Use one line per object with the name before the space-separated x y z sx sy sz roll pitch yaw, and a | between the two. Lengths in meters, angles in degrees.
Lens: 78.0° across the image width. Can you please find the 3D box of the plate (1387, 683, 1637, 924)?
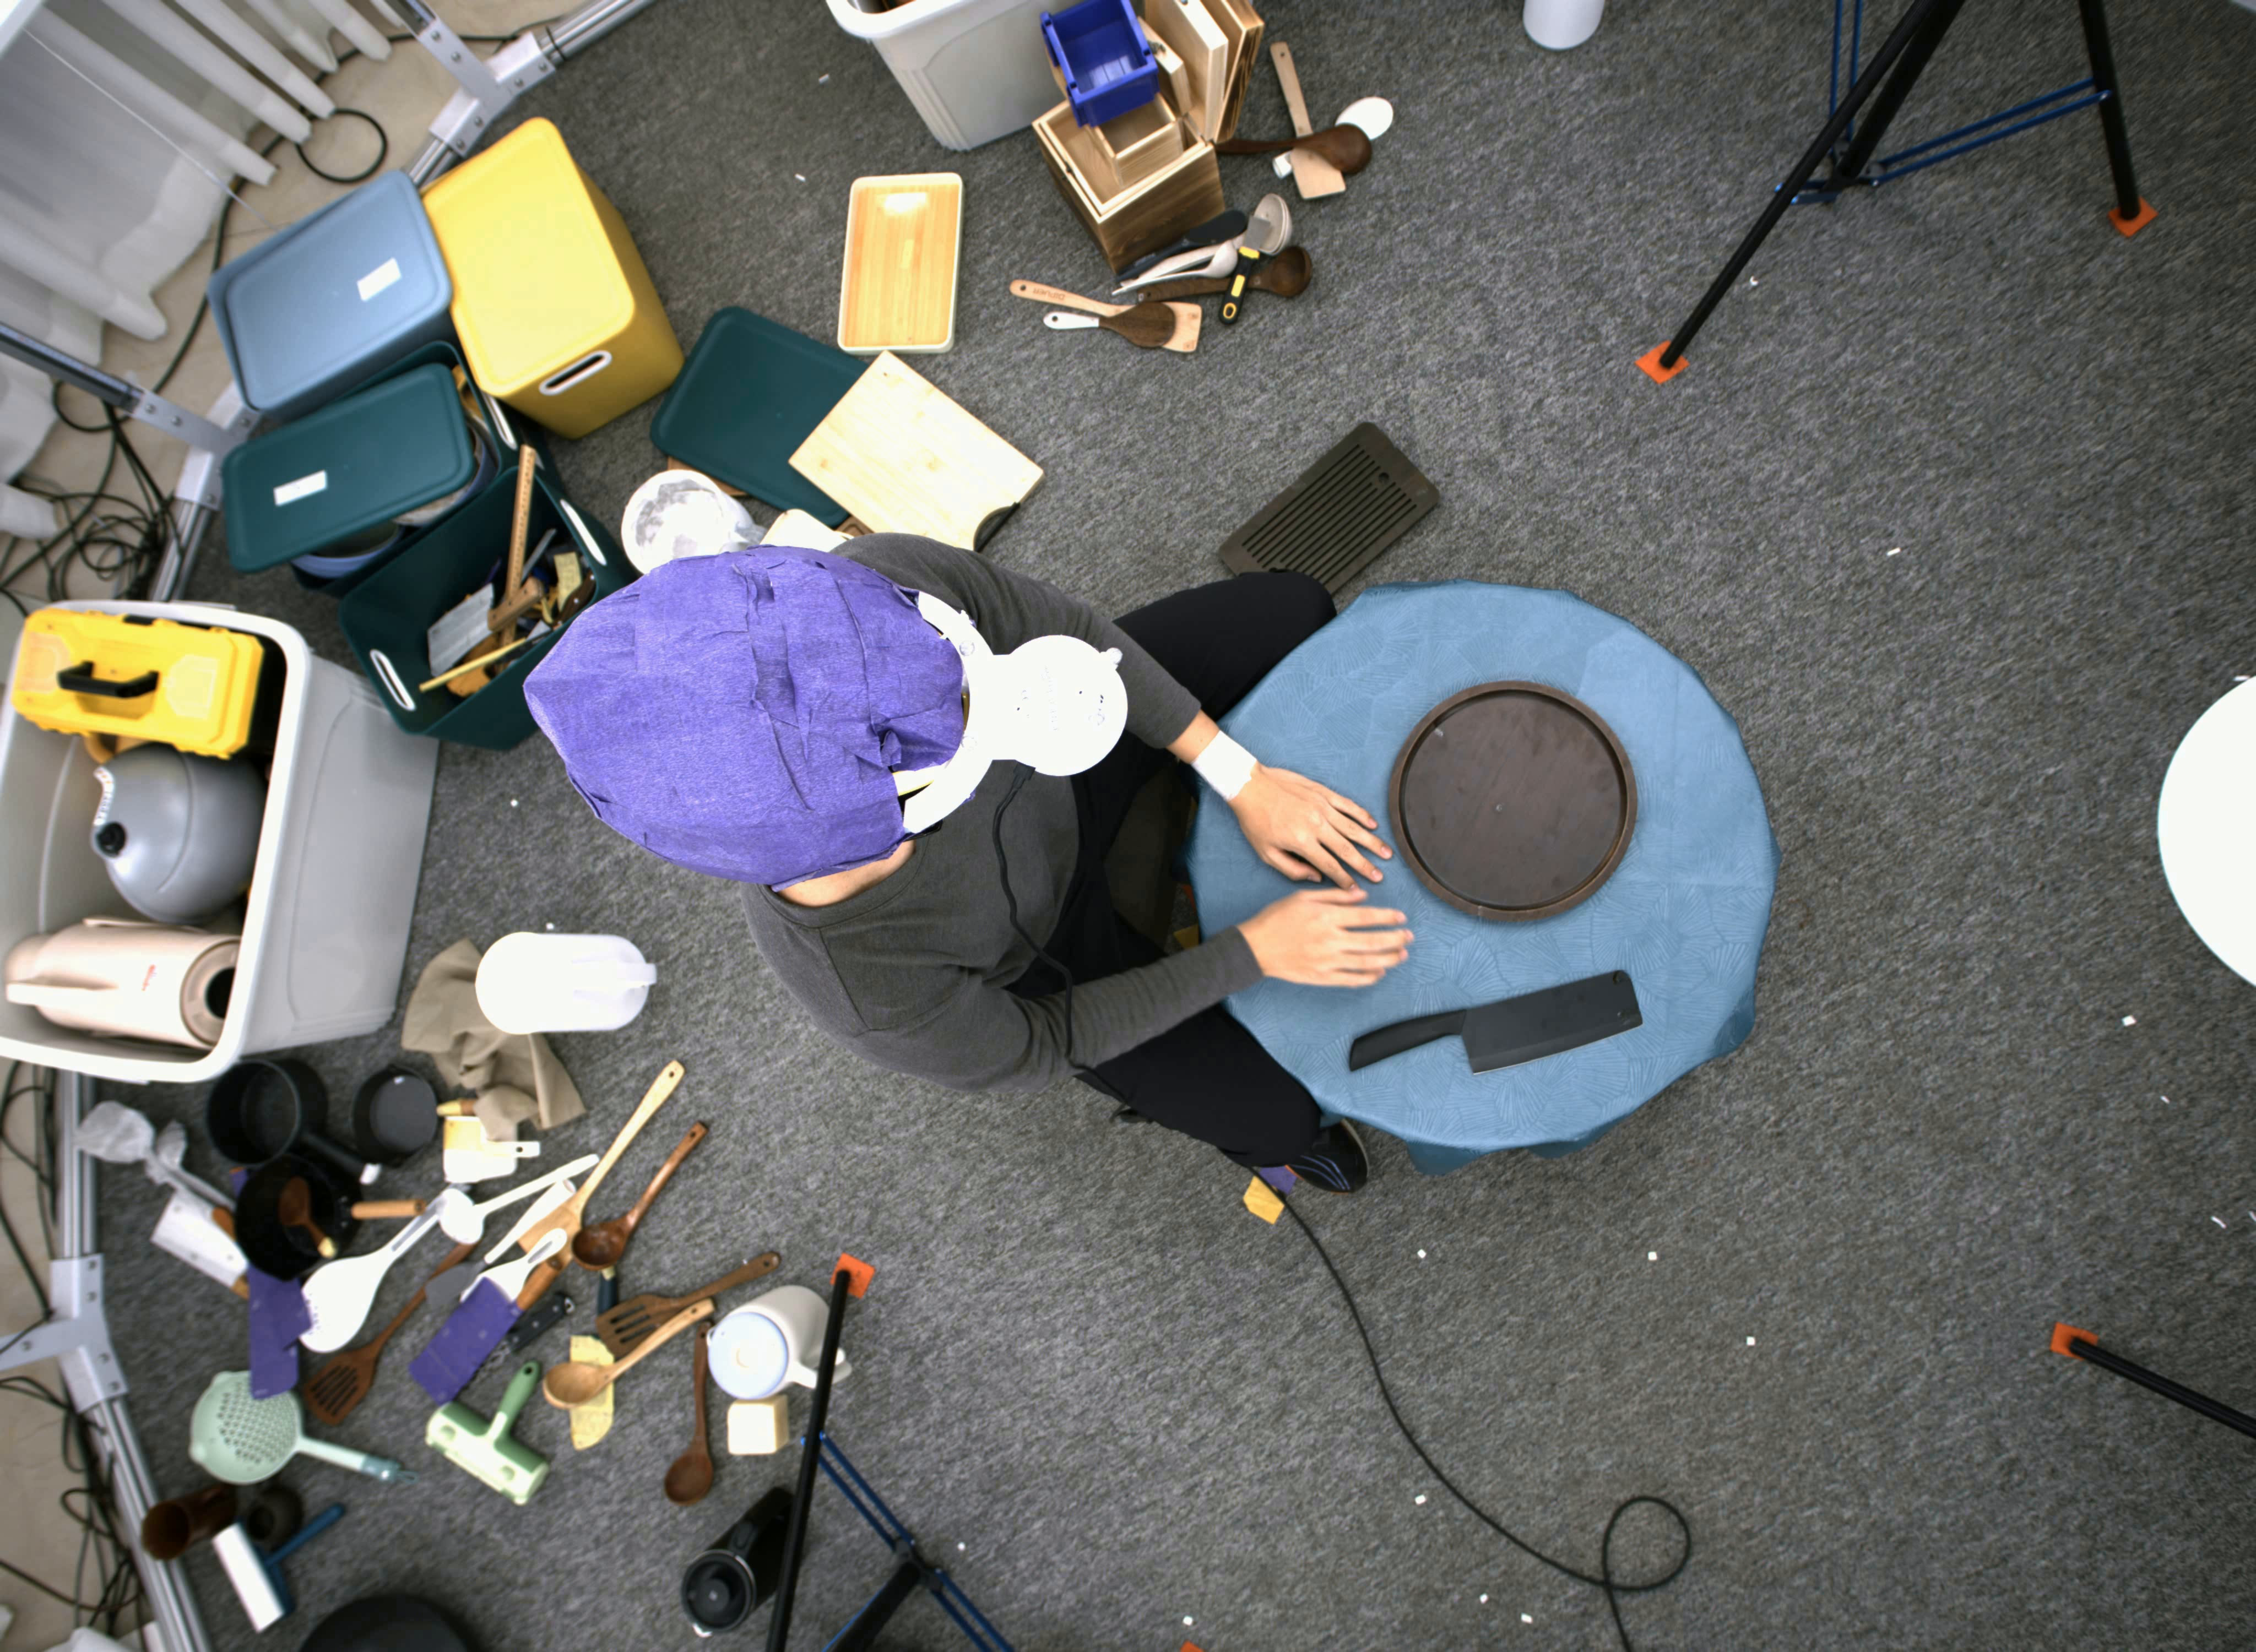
plate | 0.398 -0.027 1.430 0.256 0.029 0.254 -1 88 10

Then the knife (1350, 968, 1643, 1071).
knife | 0.377 0.210 1.425 0.304 0.021 0.080 -12 86 8
